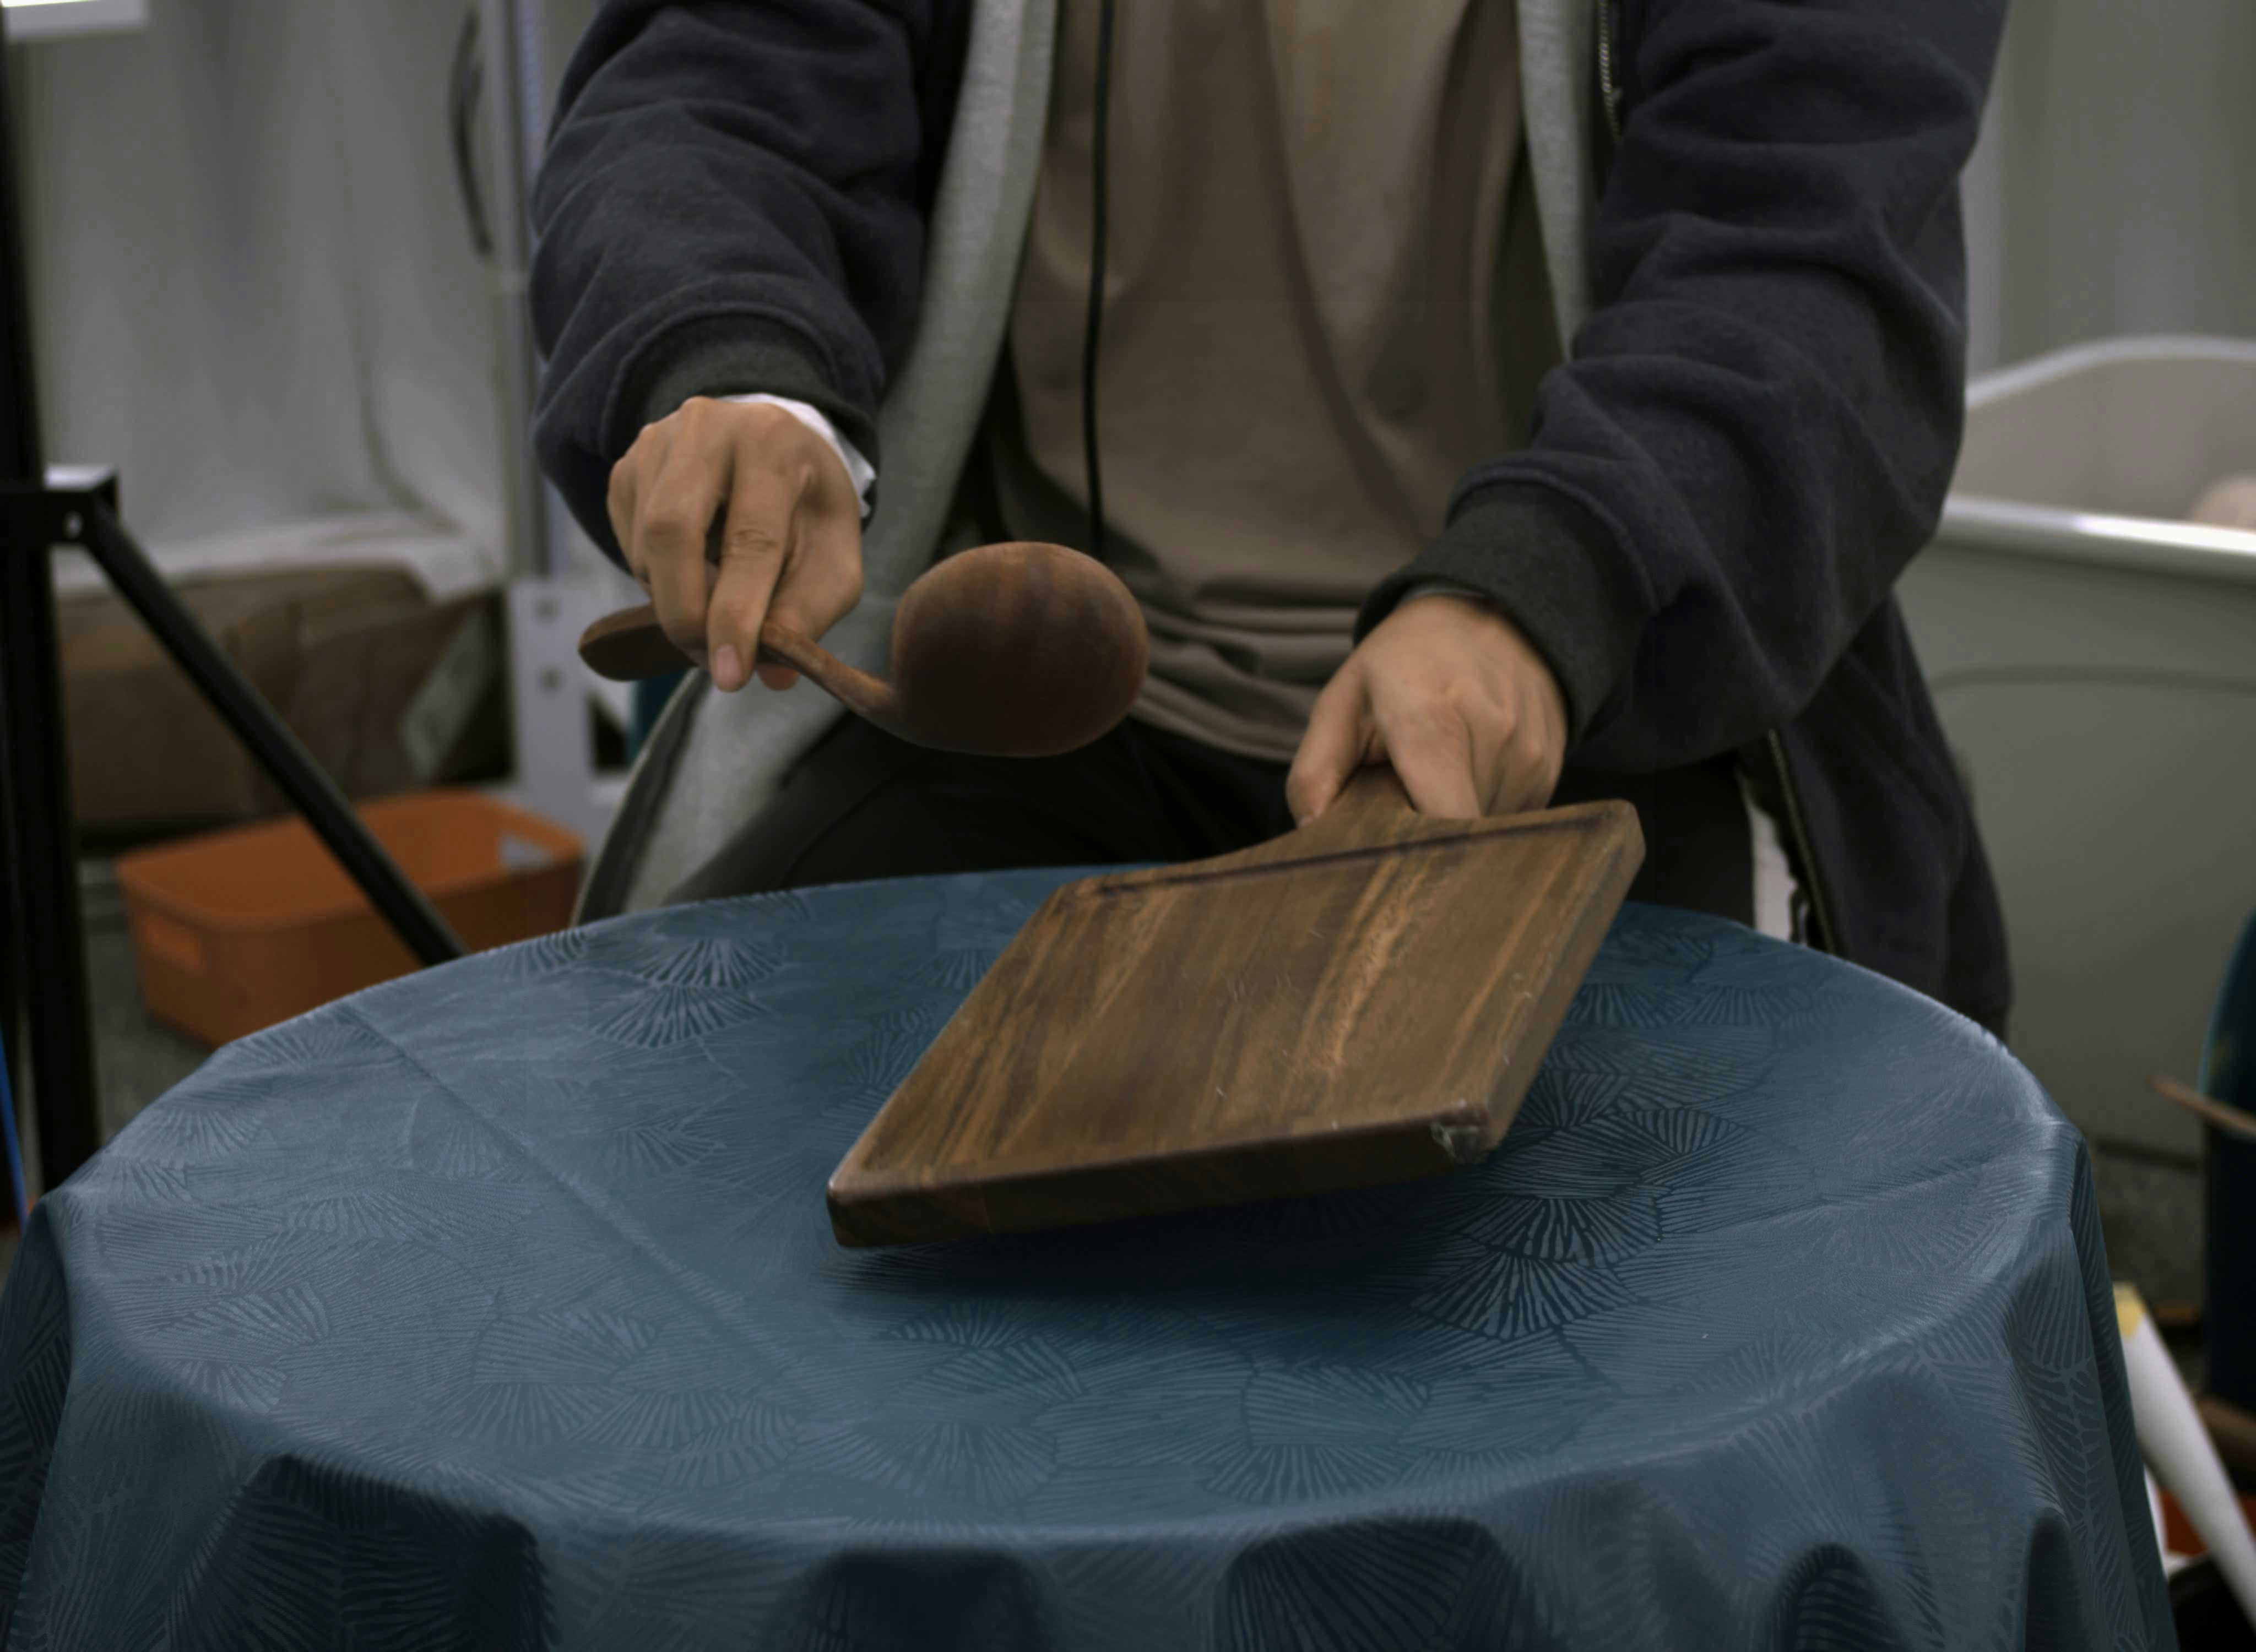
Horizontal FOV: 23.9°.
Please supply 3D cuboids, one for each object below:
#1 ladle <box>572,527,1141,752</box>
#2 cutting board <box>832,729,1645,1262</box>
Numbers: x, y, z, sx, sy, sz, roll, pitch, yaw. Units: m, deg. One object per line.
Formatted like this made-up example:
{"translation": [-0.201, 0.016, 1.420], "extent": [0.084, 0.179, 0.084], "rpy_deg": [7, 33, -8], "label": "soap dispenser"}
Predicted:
{"translation": [-0.089, -0.062, 1.634], "extent": [0.065, 0.075, 0.266], "rpy_deg": [-53, 30, -16], "label": "ladle"}
{"translation": [0.050, 0.040, 1.607], "extent": [0.203, 0.023, 0.350], "rpy_deg": [-8, 19, 19], "label": "cutting board"}
